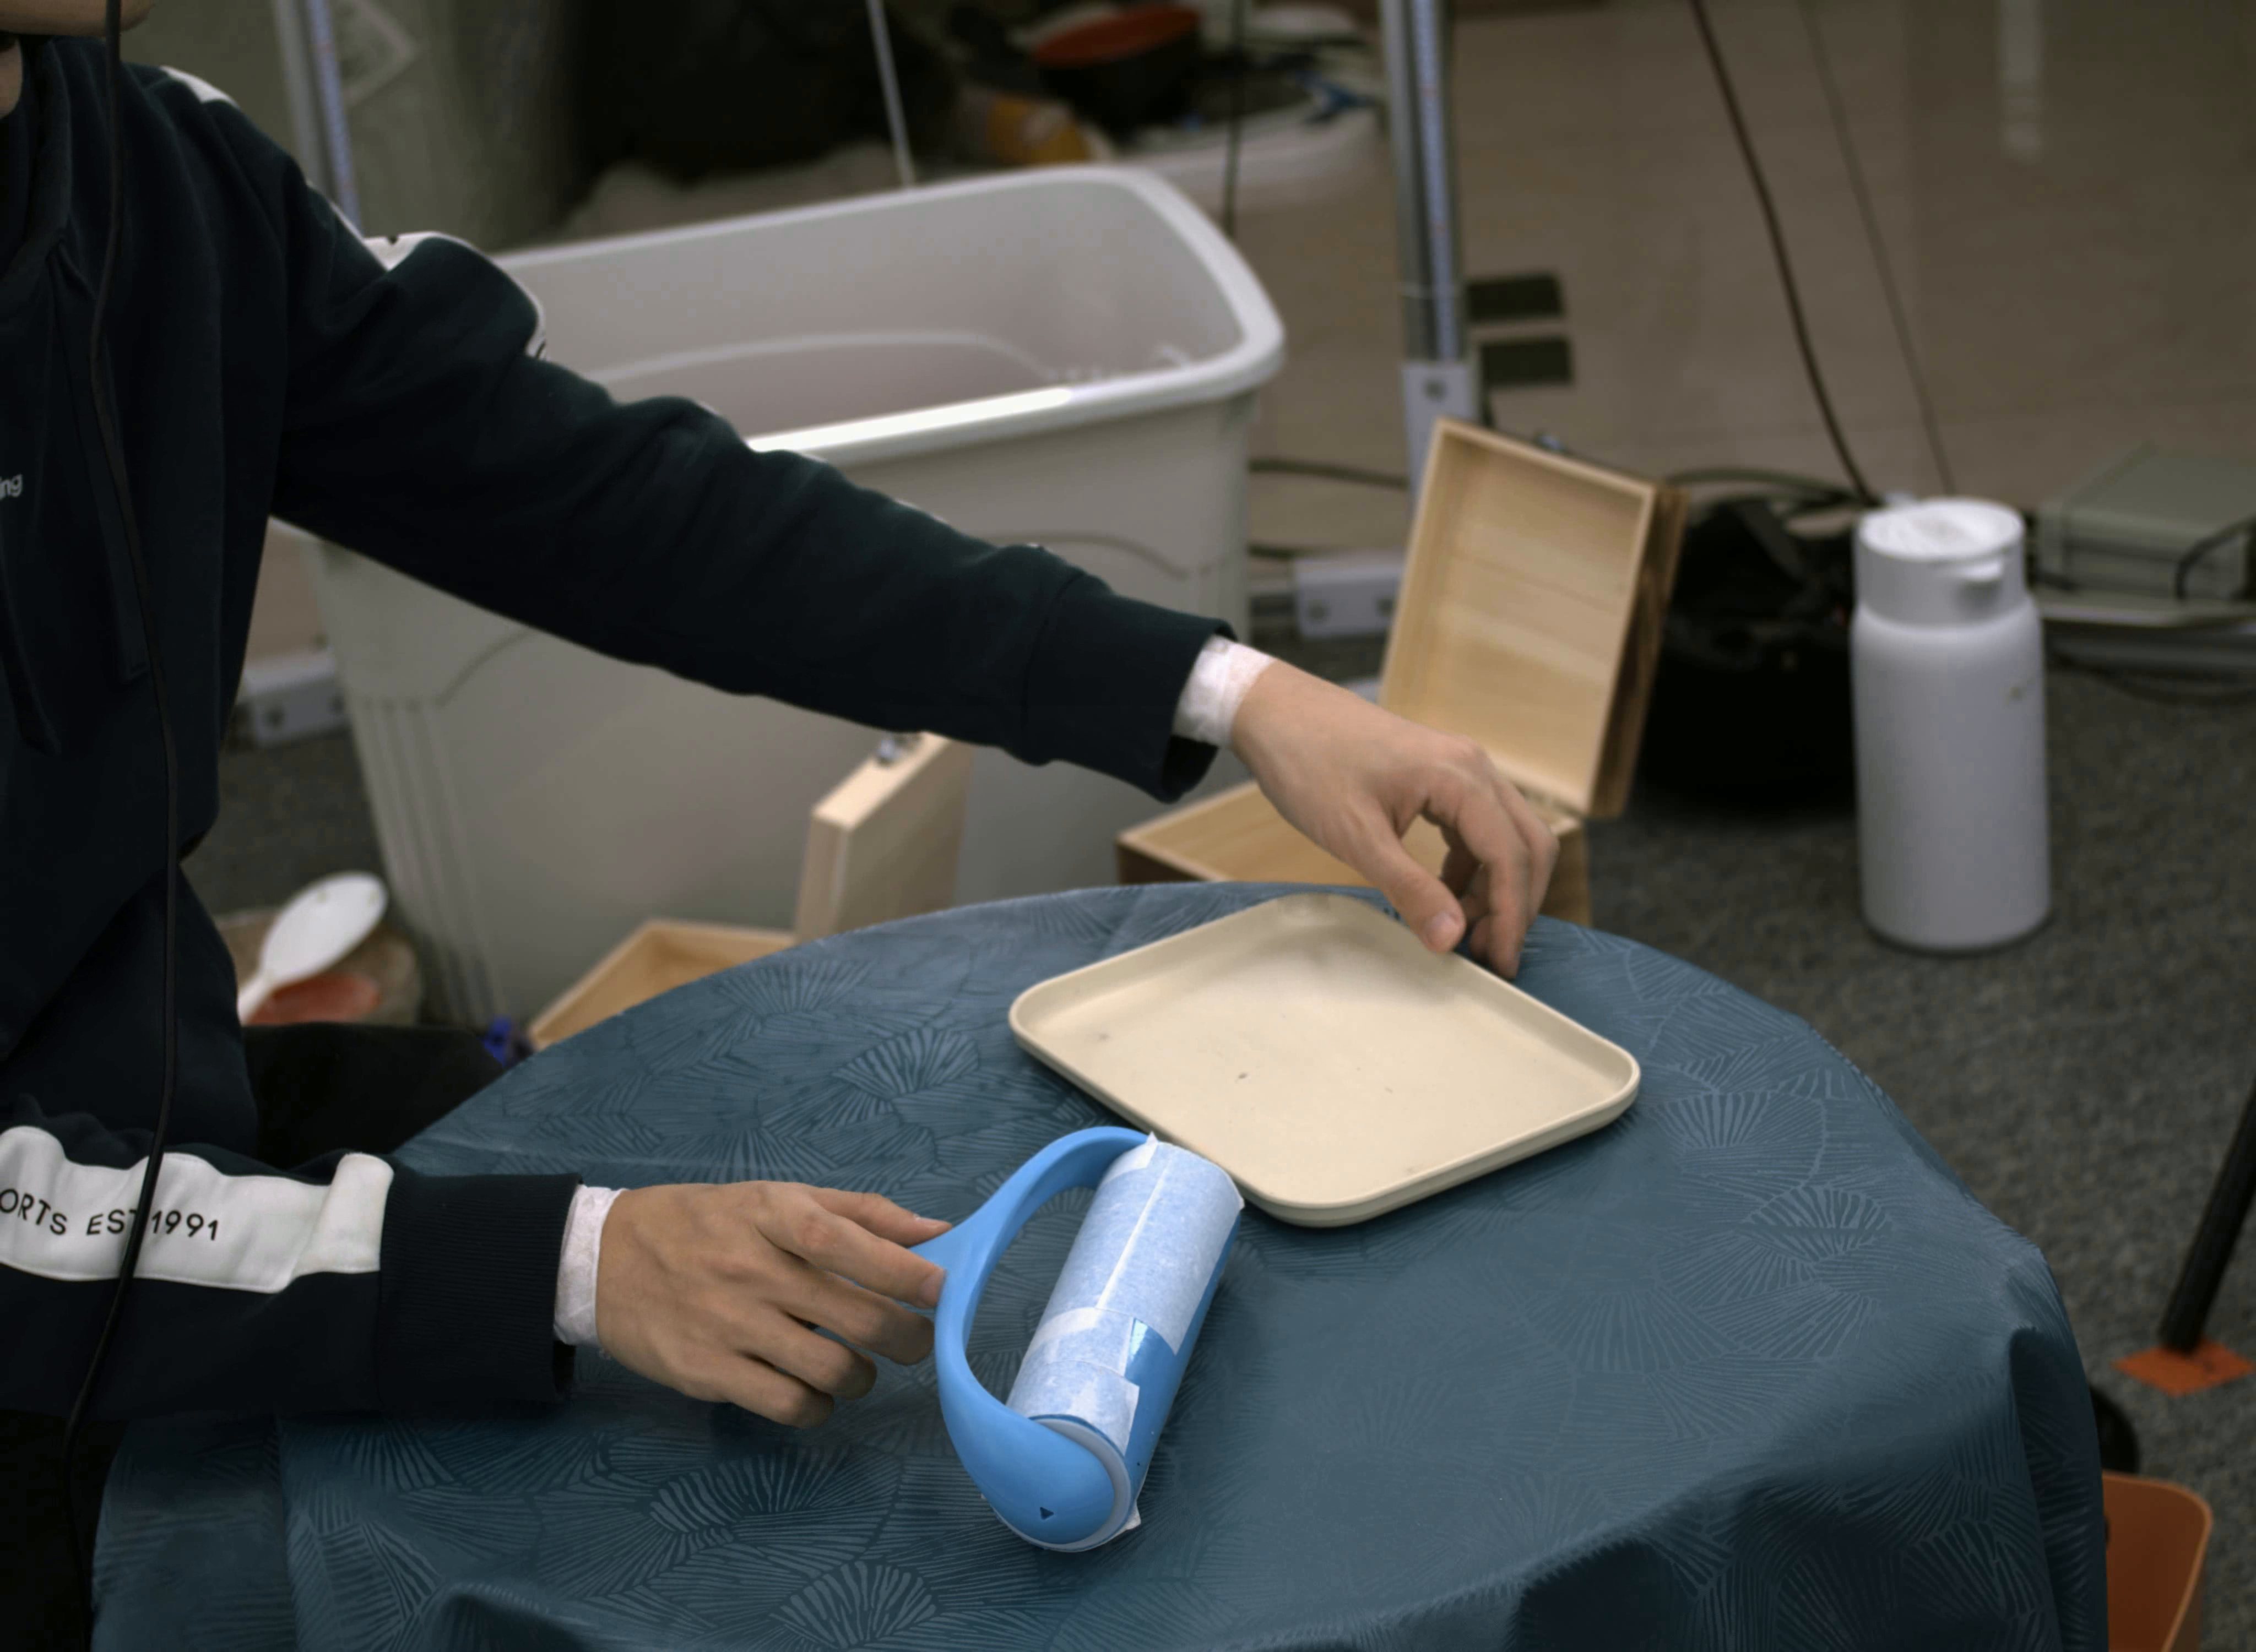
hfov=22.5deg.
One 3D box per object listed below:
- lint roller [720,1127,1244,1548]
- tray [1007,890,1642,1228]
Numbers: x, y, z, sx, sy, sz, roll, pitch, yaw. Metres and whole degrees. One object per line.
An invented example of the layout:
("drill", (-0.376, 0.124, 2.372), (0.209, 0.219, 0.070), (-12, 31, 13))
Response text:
("lint roller", (-0.061, 0.180, 2.004), (0.180, 0.069, 0.225), (-1, 27, 10))
("tray", (0.074, 0.090, 2.210), (0.170, 0.018, 0.237), (-20, 28, -26))
